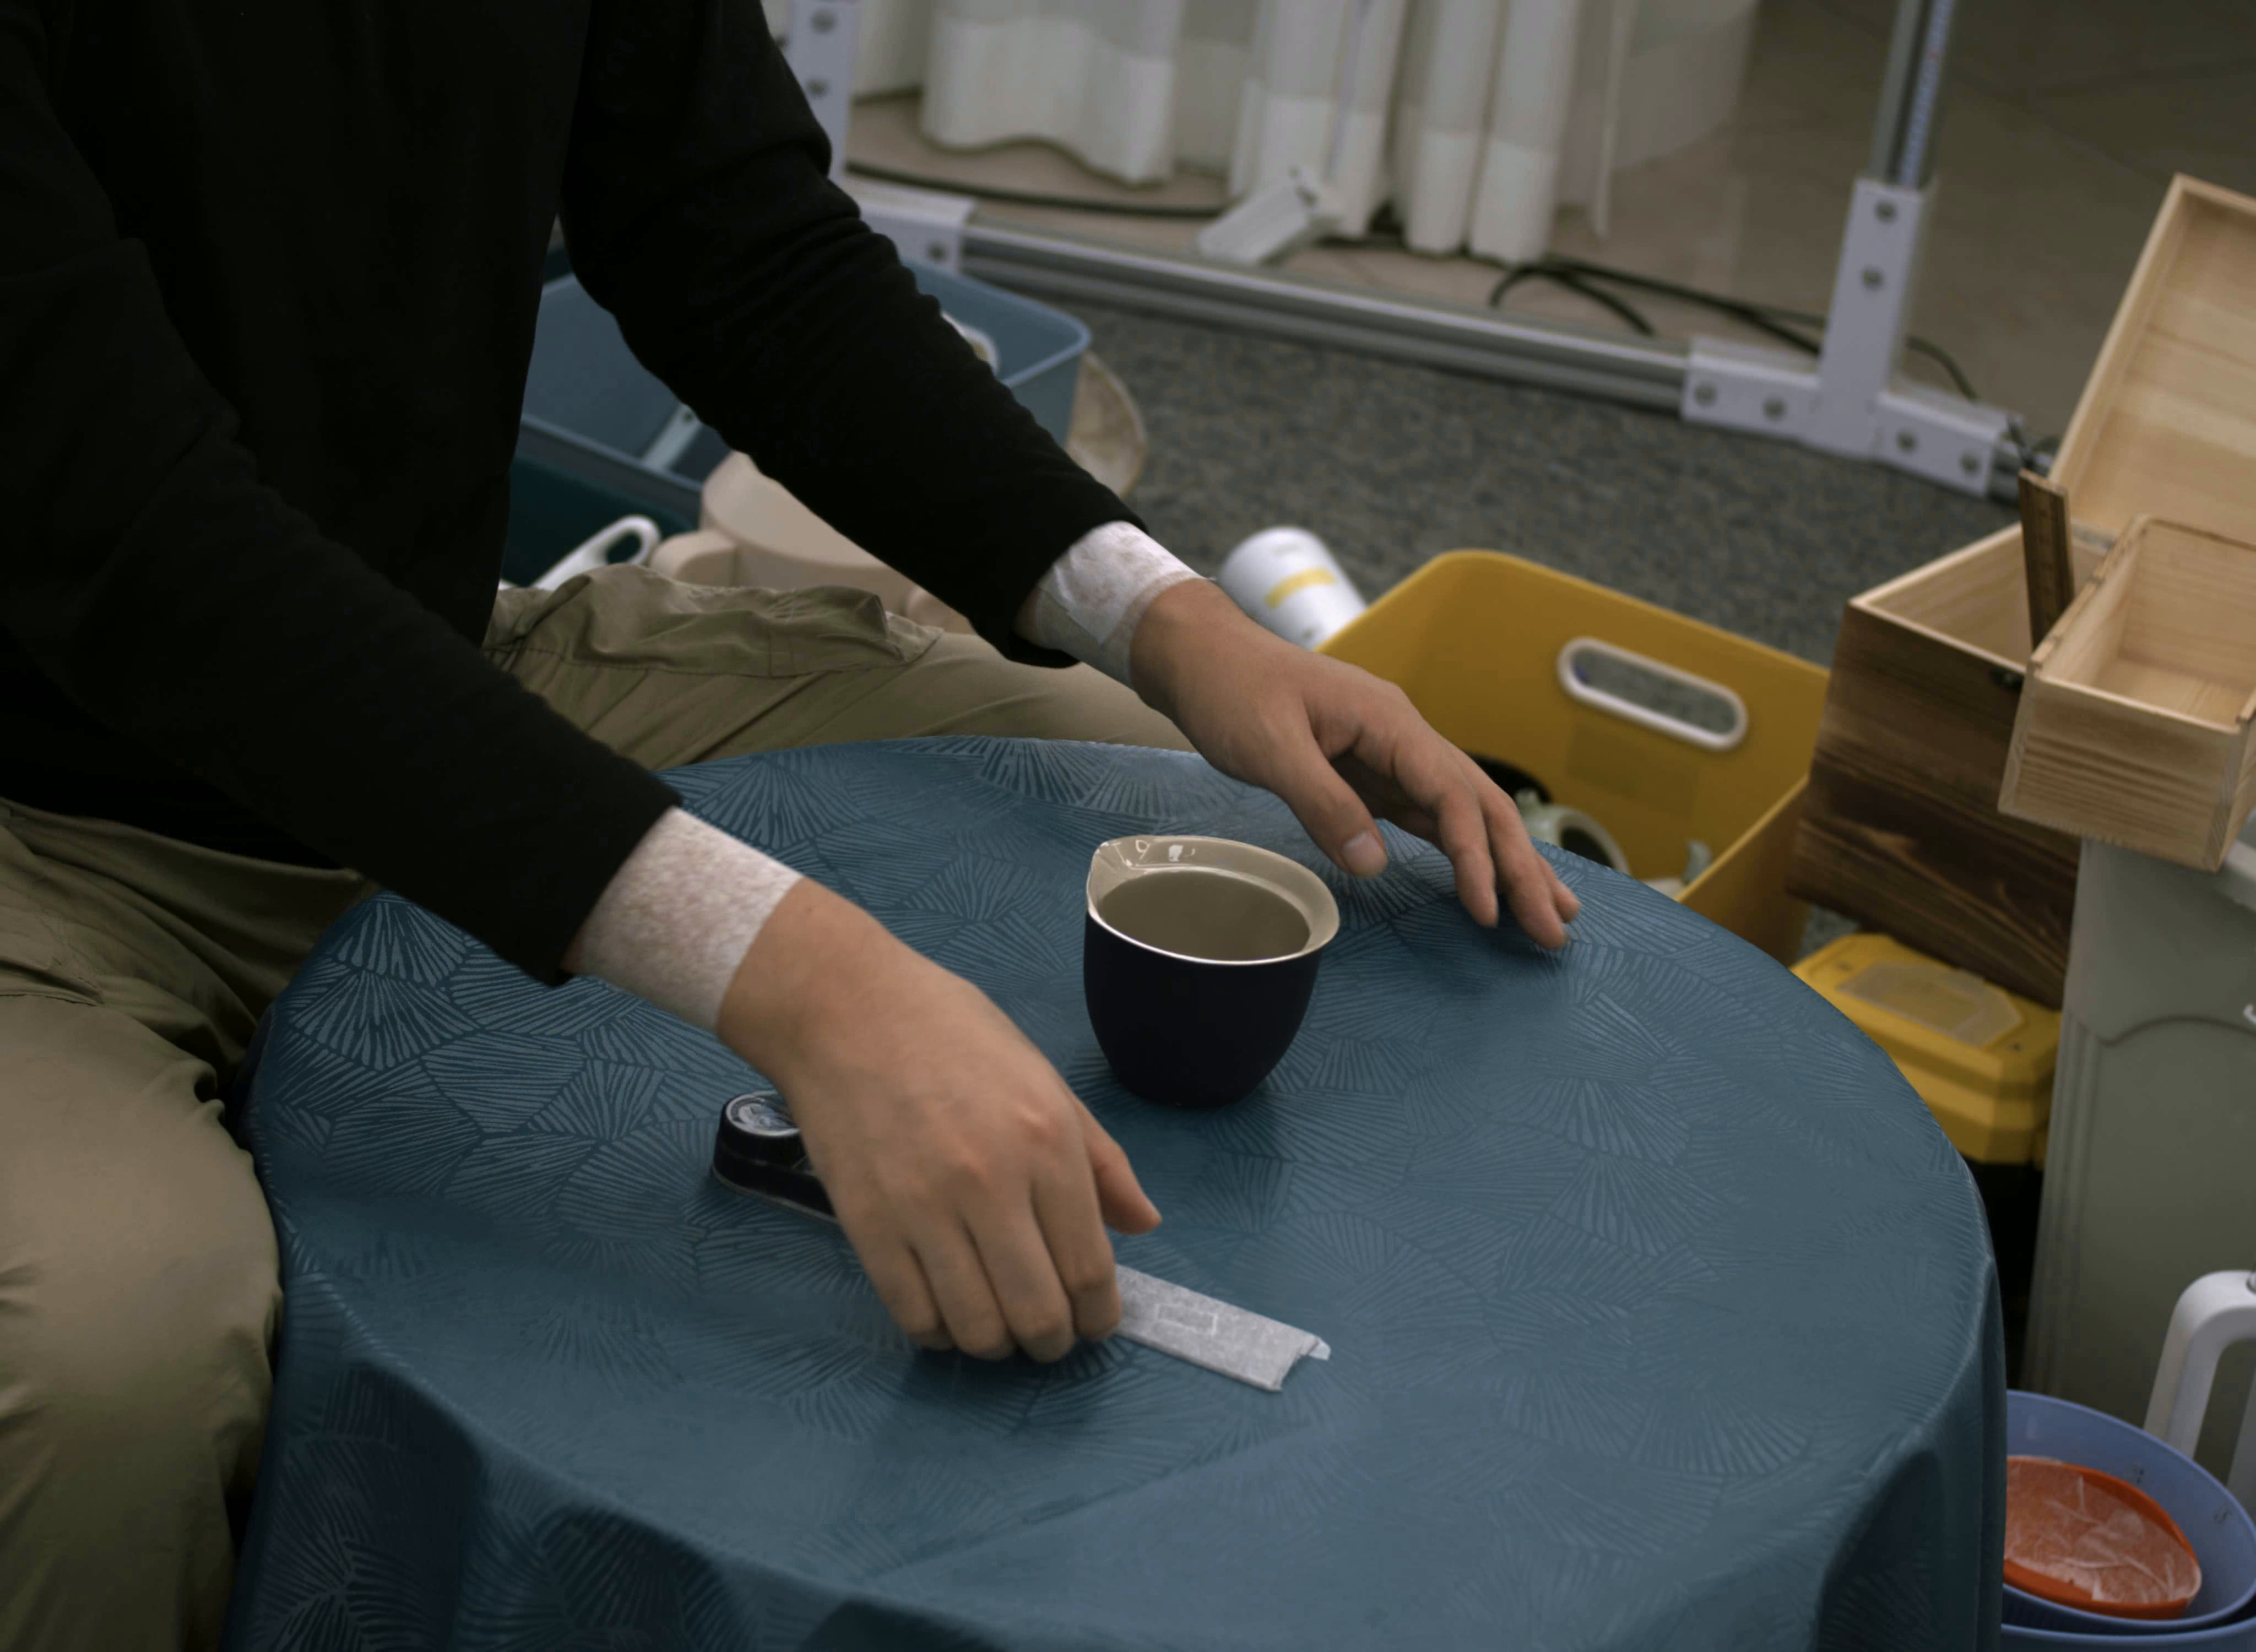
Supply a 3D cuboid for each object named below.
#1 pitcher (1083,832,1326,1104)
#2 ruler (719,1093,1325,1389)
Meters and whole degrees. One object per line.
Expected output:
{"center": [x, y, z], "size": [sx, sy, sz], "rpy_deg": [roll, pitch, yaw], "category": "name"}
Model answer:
{"center": [0.021, 0.053, 1.865], "size": [0.083, 0.071, 0.097], "rpy_deg": [-17, 36, -37], "category": "pitcher"}
{"center": [-0.039, 0.133, 1.747], "size": [0.219, 0.024, 0.038], "rpy_deg": [18, 34, 23], "category": "ruler"}
